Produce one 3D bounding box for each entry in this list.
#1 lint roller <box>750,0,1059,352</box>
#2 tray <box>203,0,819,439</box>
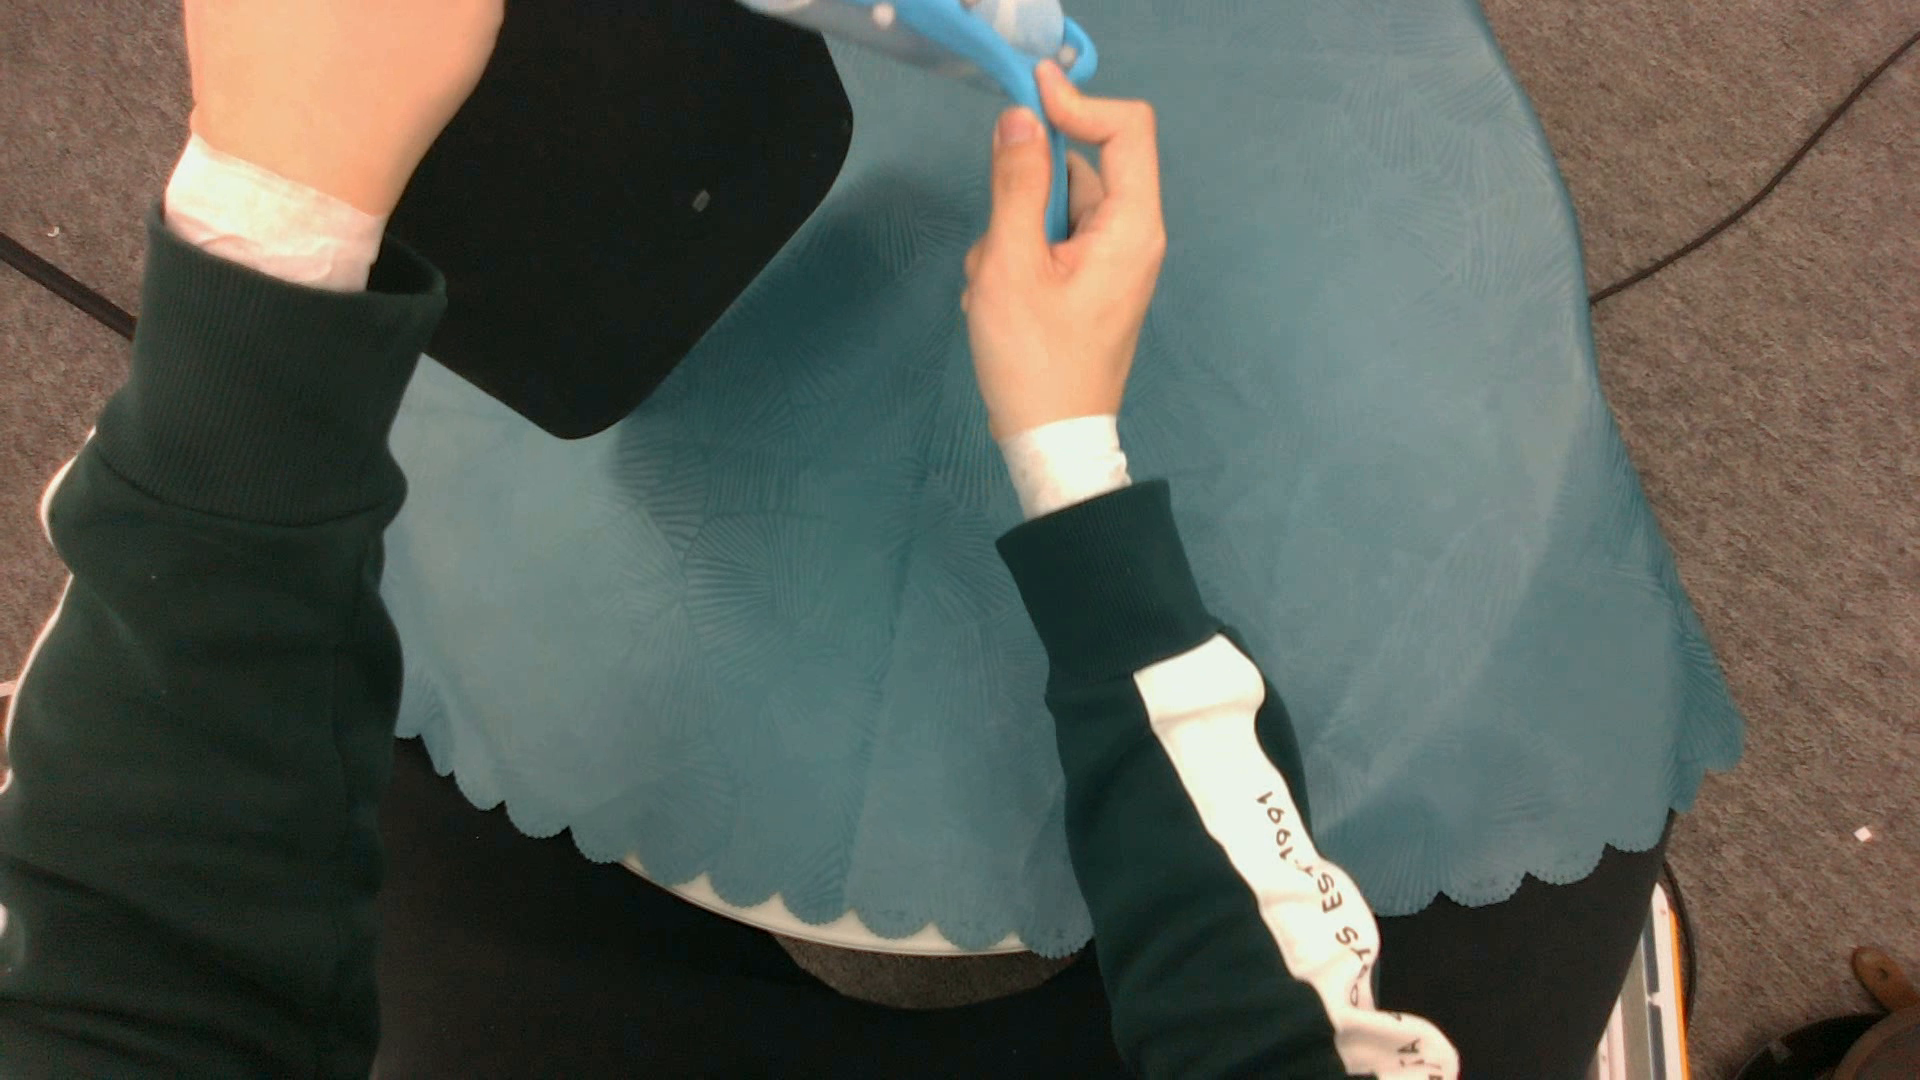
[{"bbox_3d":[-0.005,-0.167,0.530,0.067,0.230,0.180,-27,91,24],"label":"lint roller"},{"bbox_3d":[-0.145,-0.152,0.530,0.010,0.325,0.211,38,86,12],"label":"tray"}]
